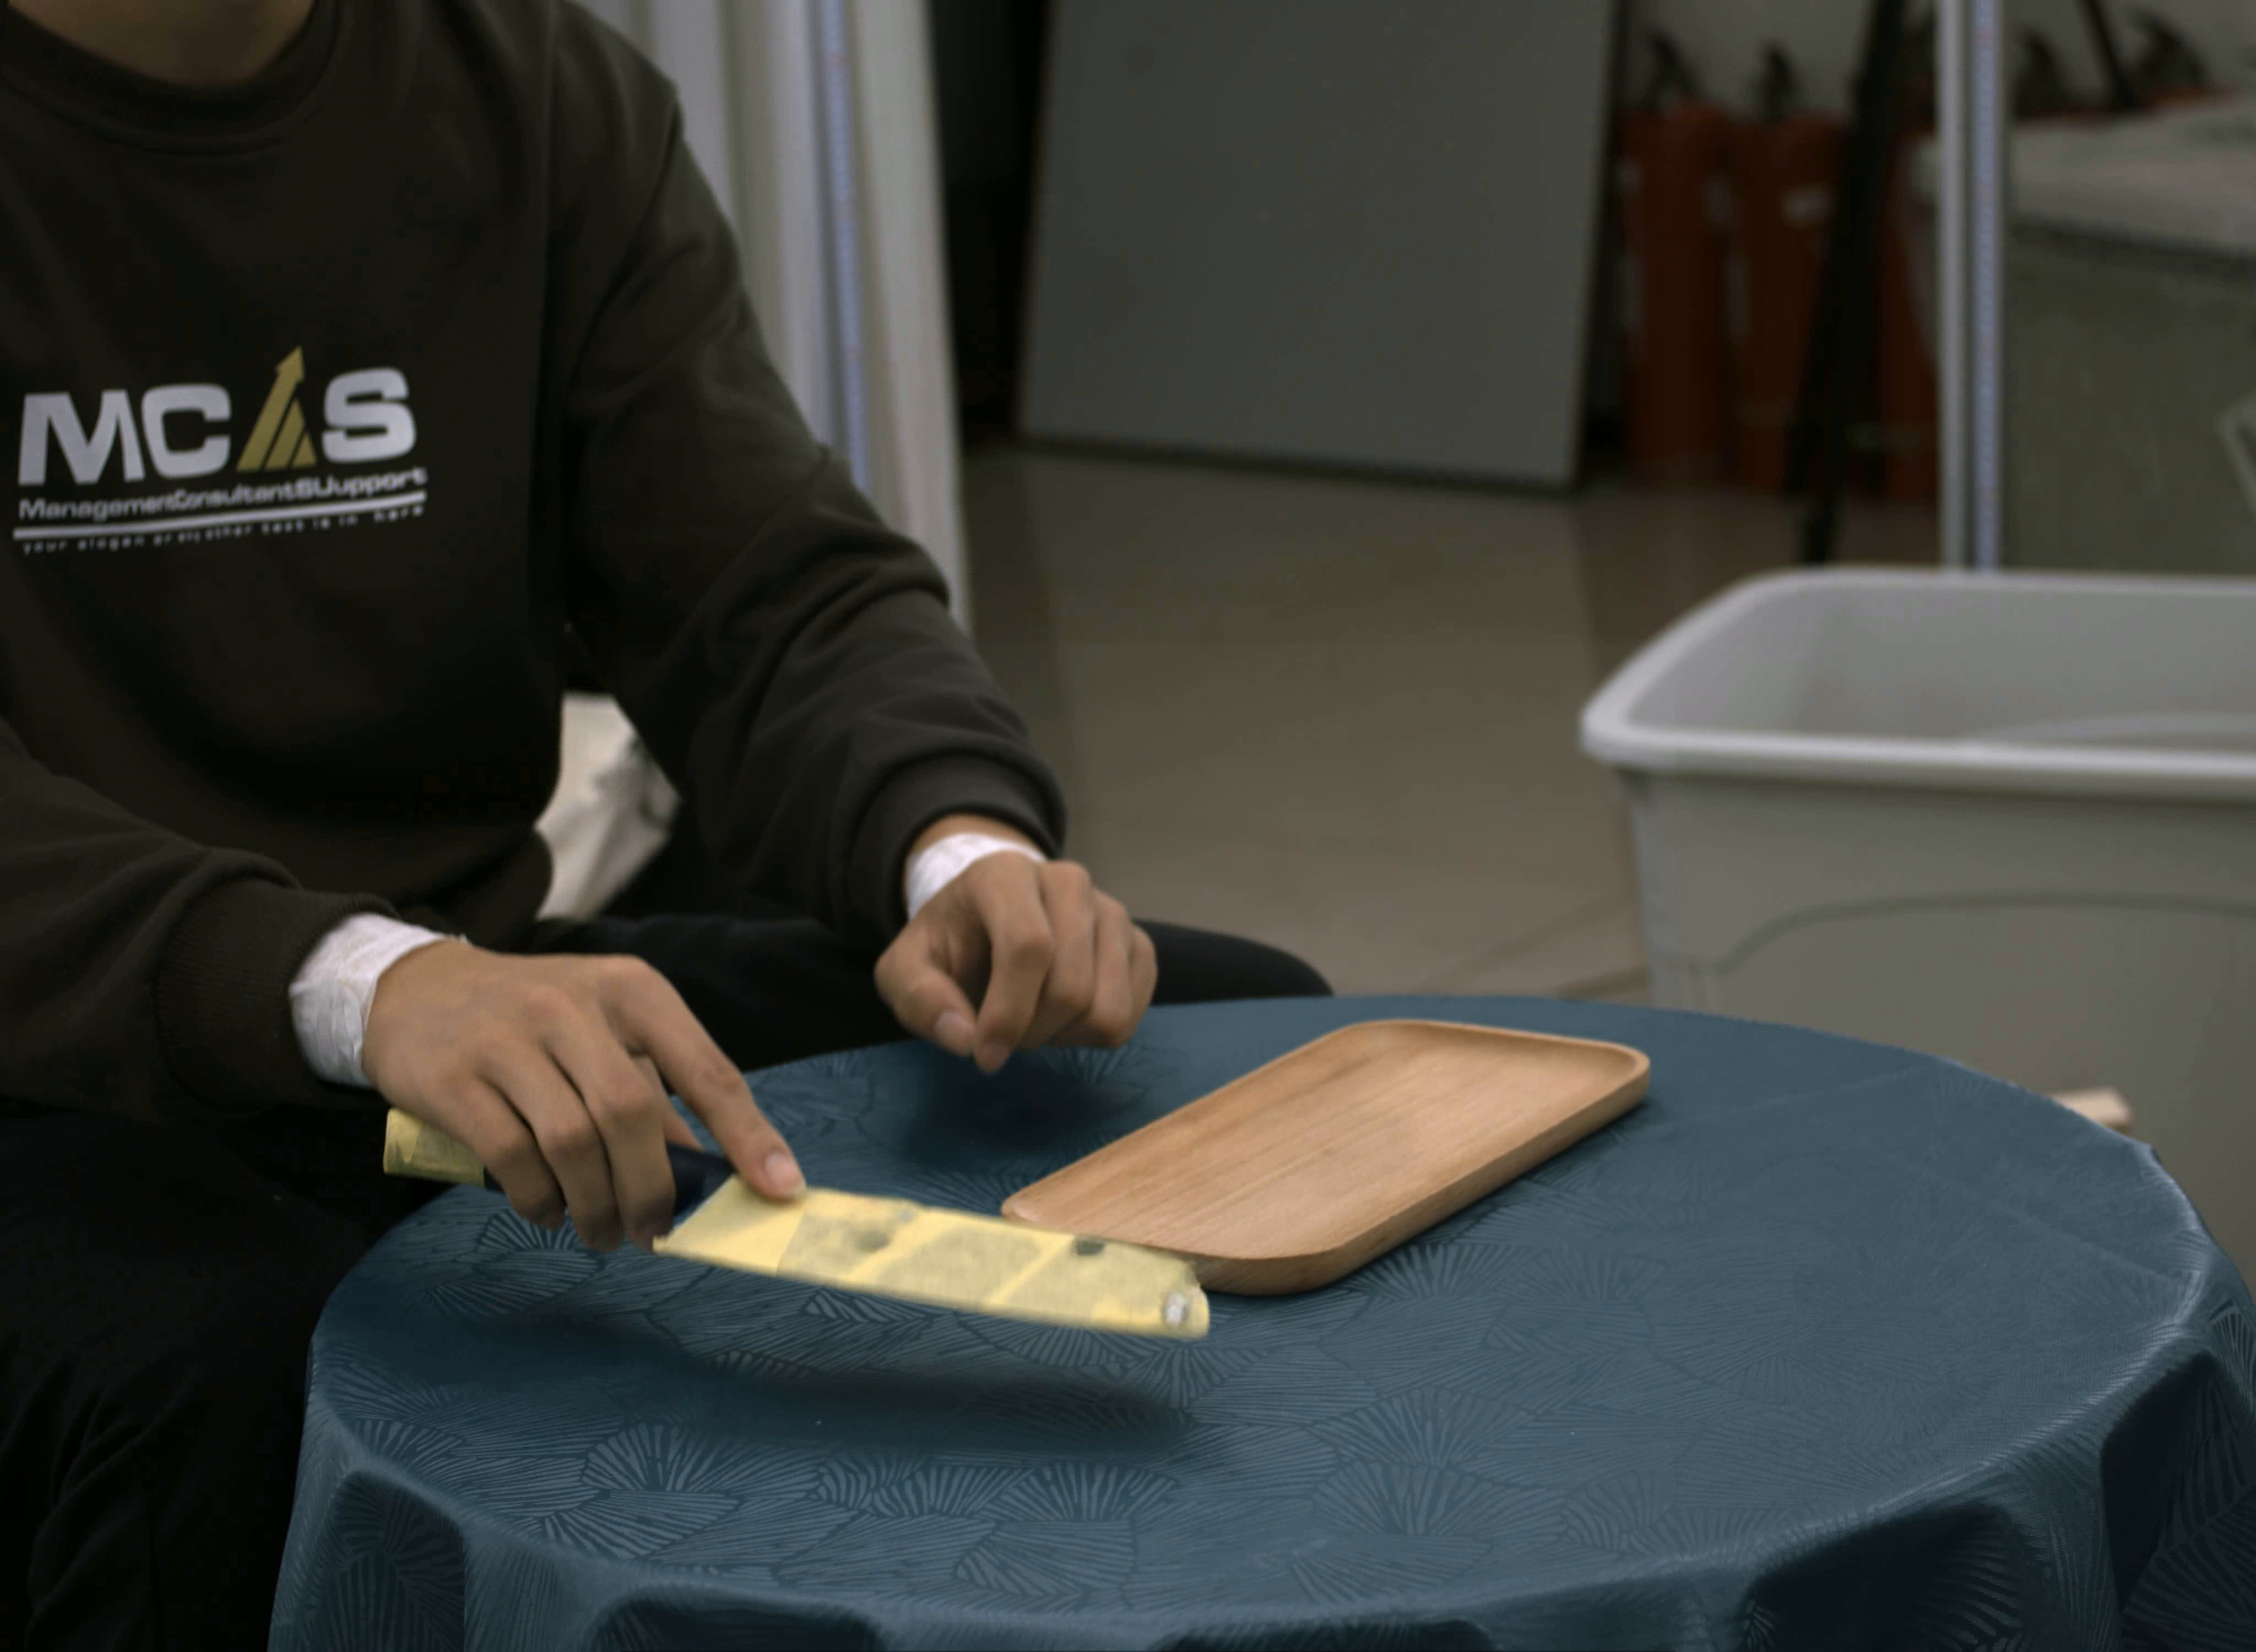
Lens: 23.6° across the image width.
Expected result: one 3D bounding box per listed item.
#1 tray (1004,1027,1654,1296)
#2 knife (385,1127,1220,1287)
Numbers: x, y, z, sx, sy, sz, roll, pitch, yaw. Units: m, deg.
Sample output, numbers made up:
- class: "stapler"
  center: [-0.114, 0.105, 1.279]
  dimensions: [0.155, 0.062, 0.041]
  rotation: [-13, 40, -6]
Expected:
- class: "tray"
  center: [0.070, 0.108, 1.773]
  dimensions: [0.131, 0.023, 0.246]
  rotation: [2, 15, 35]
- class: "knife"
  center: [-0.104, 0.117, 1.611]
  dimensions: [0.290, 0.027, 0.080]
  rotation: [5, 11, 26]
